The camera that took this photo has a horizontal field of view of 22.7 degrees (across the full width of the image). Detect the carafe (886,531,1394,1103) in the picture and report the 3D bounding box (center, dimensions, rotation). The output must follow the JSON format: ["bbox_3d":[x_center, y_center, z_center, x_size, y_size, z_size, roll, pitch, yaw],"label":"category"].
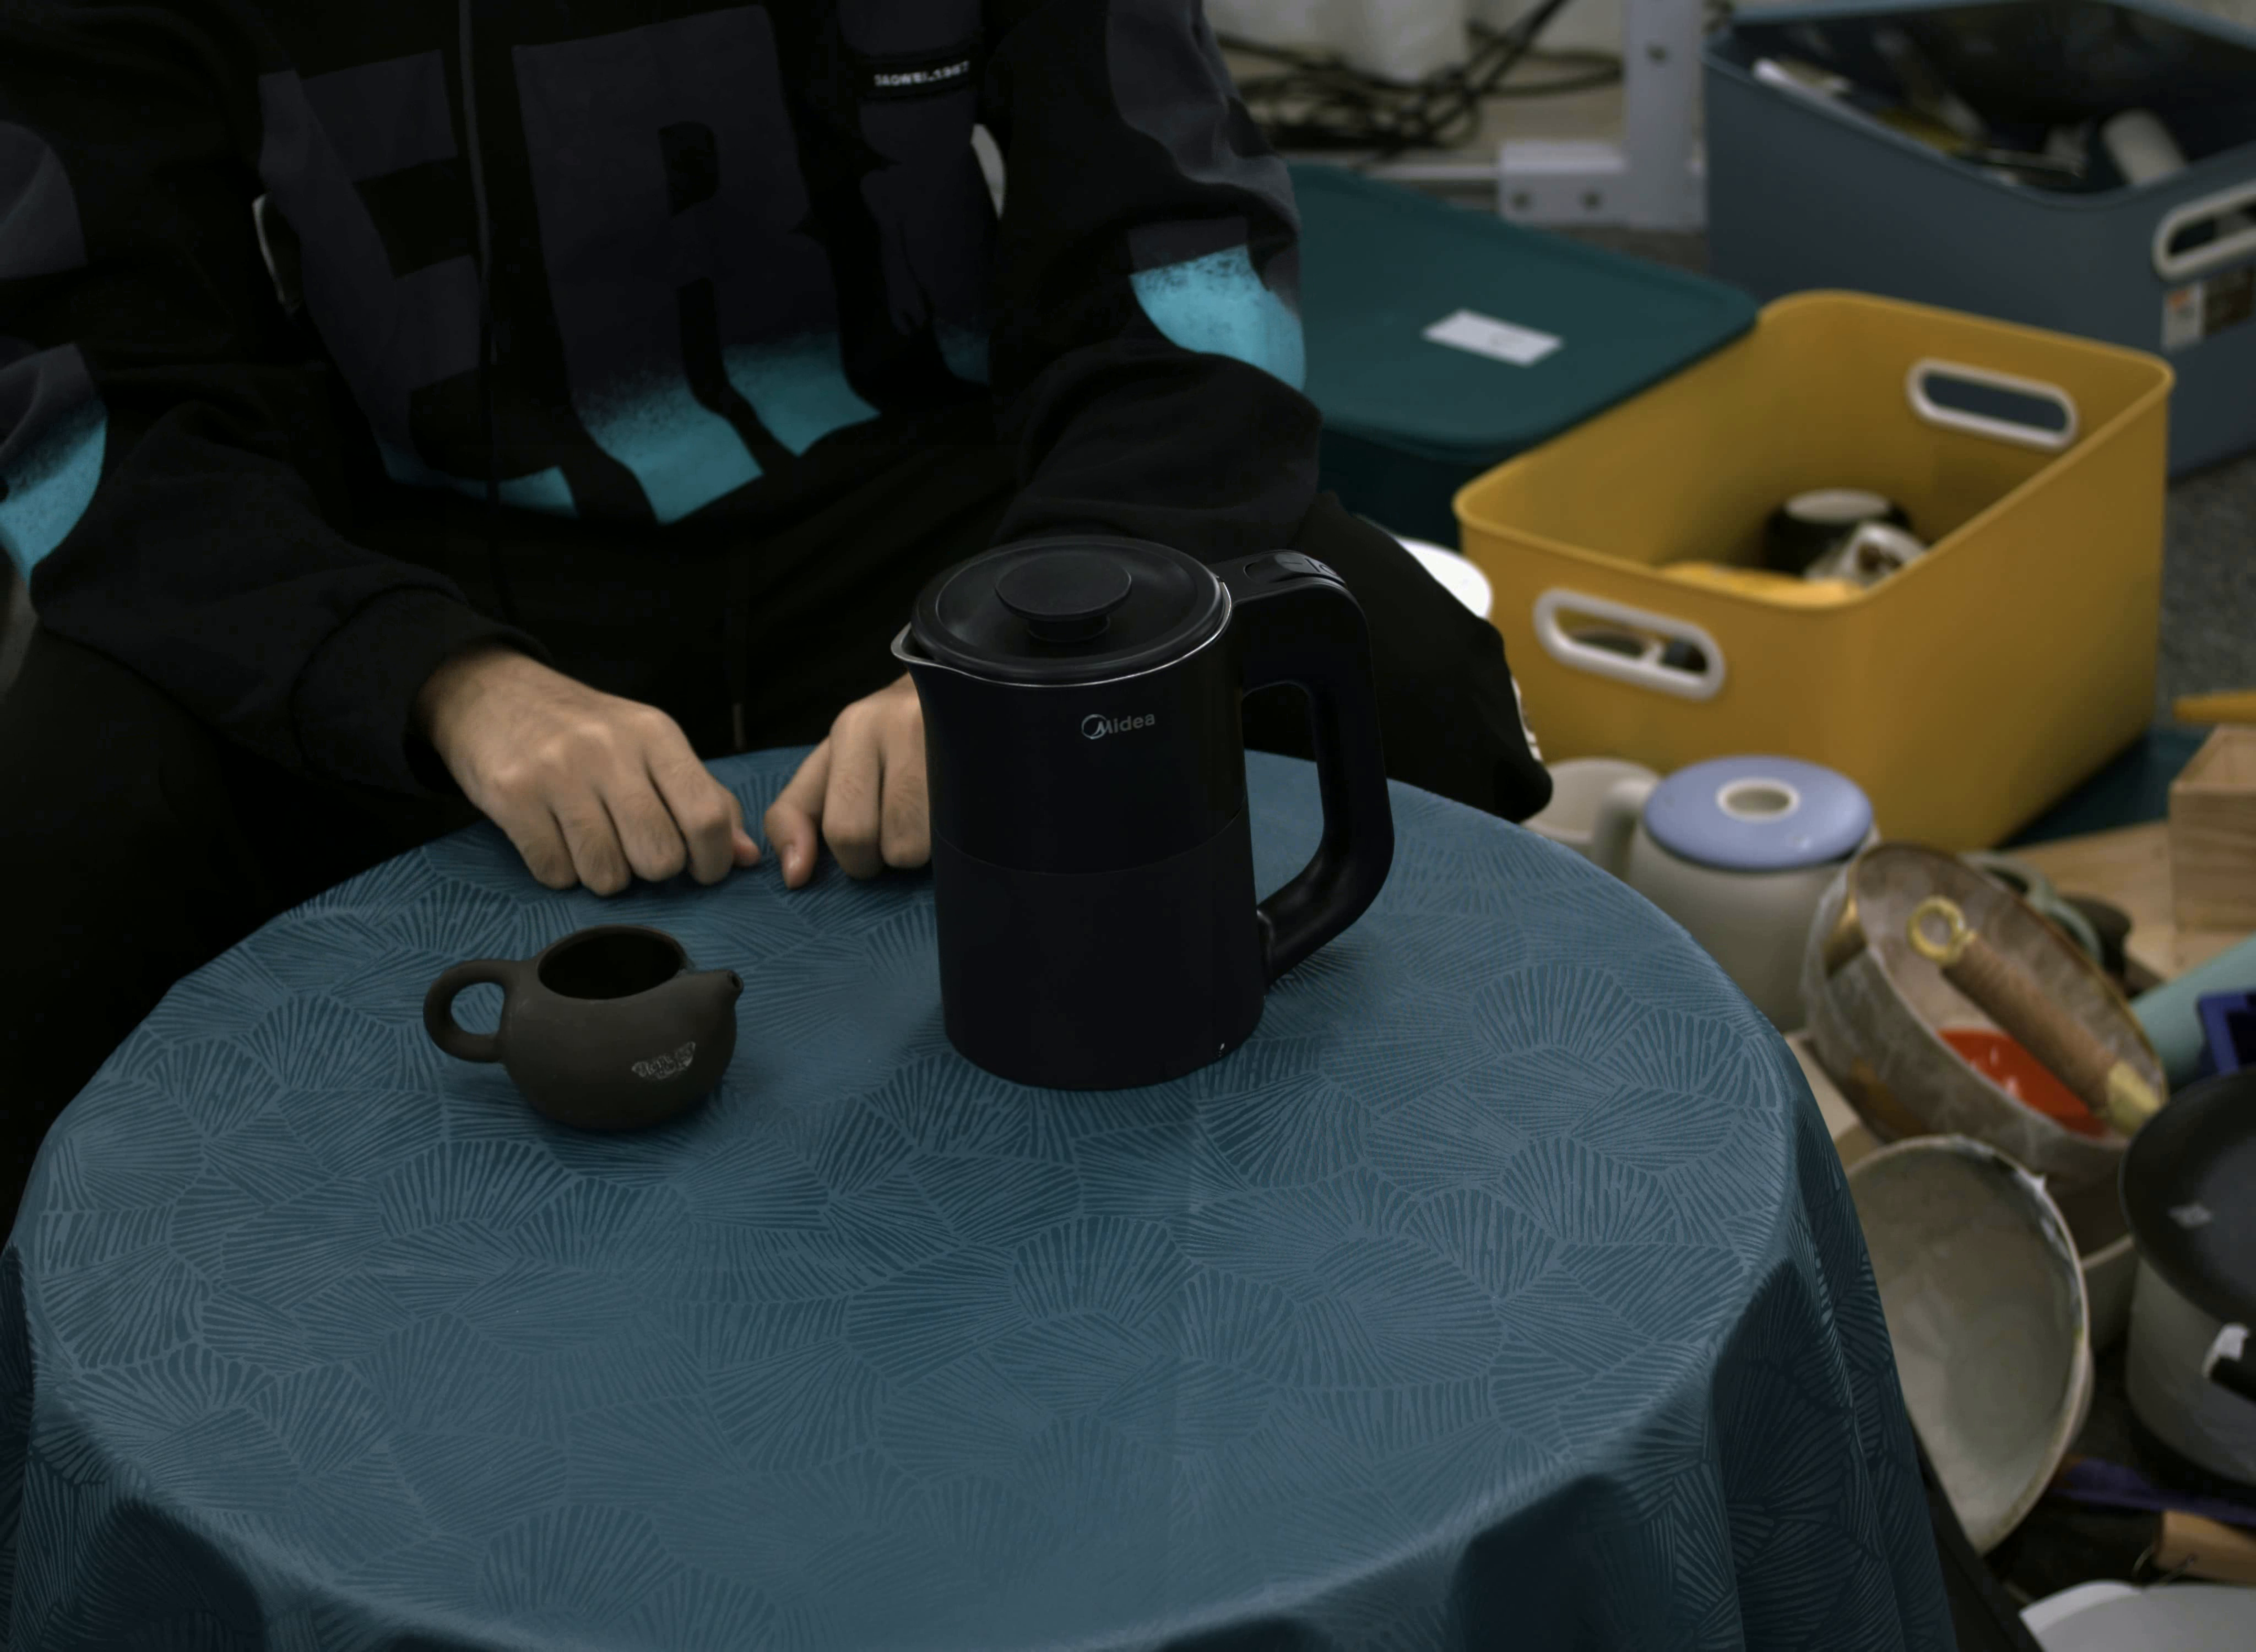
[{"bbox_3d":[0.006,-0.014,1.938,0.172,0.171,0.115,-15,27,-17],"label":"carafe"}]

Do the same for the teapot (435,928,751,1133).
[{"bbox_3d":[-0.184,0.068,1.927,0.113,0.052,0.084,7,28,13],"label":"teapot"}]
